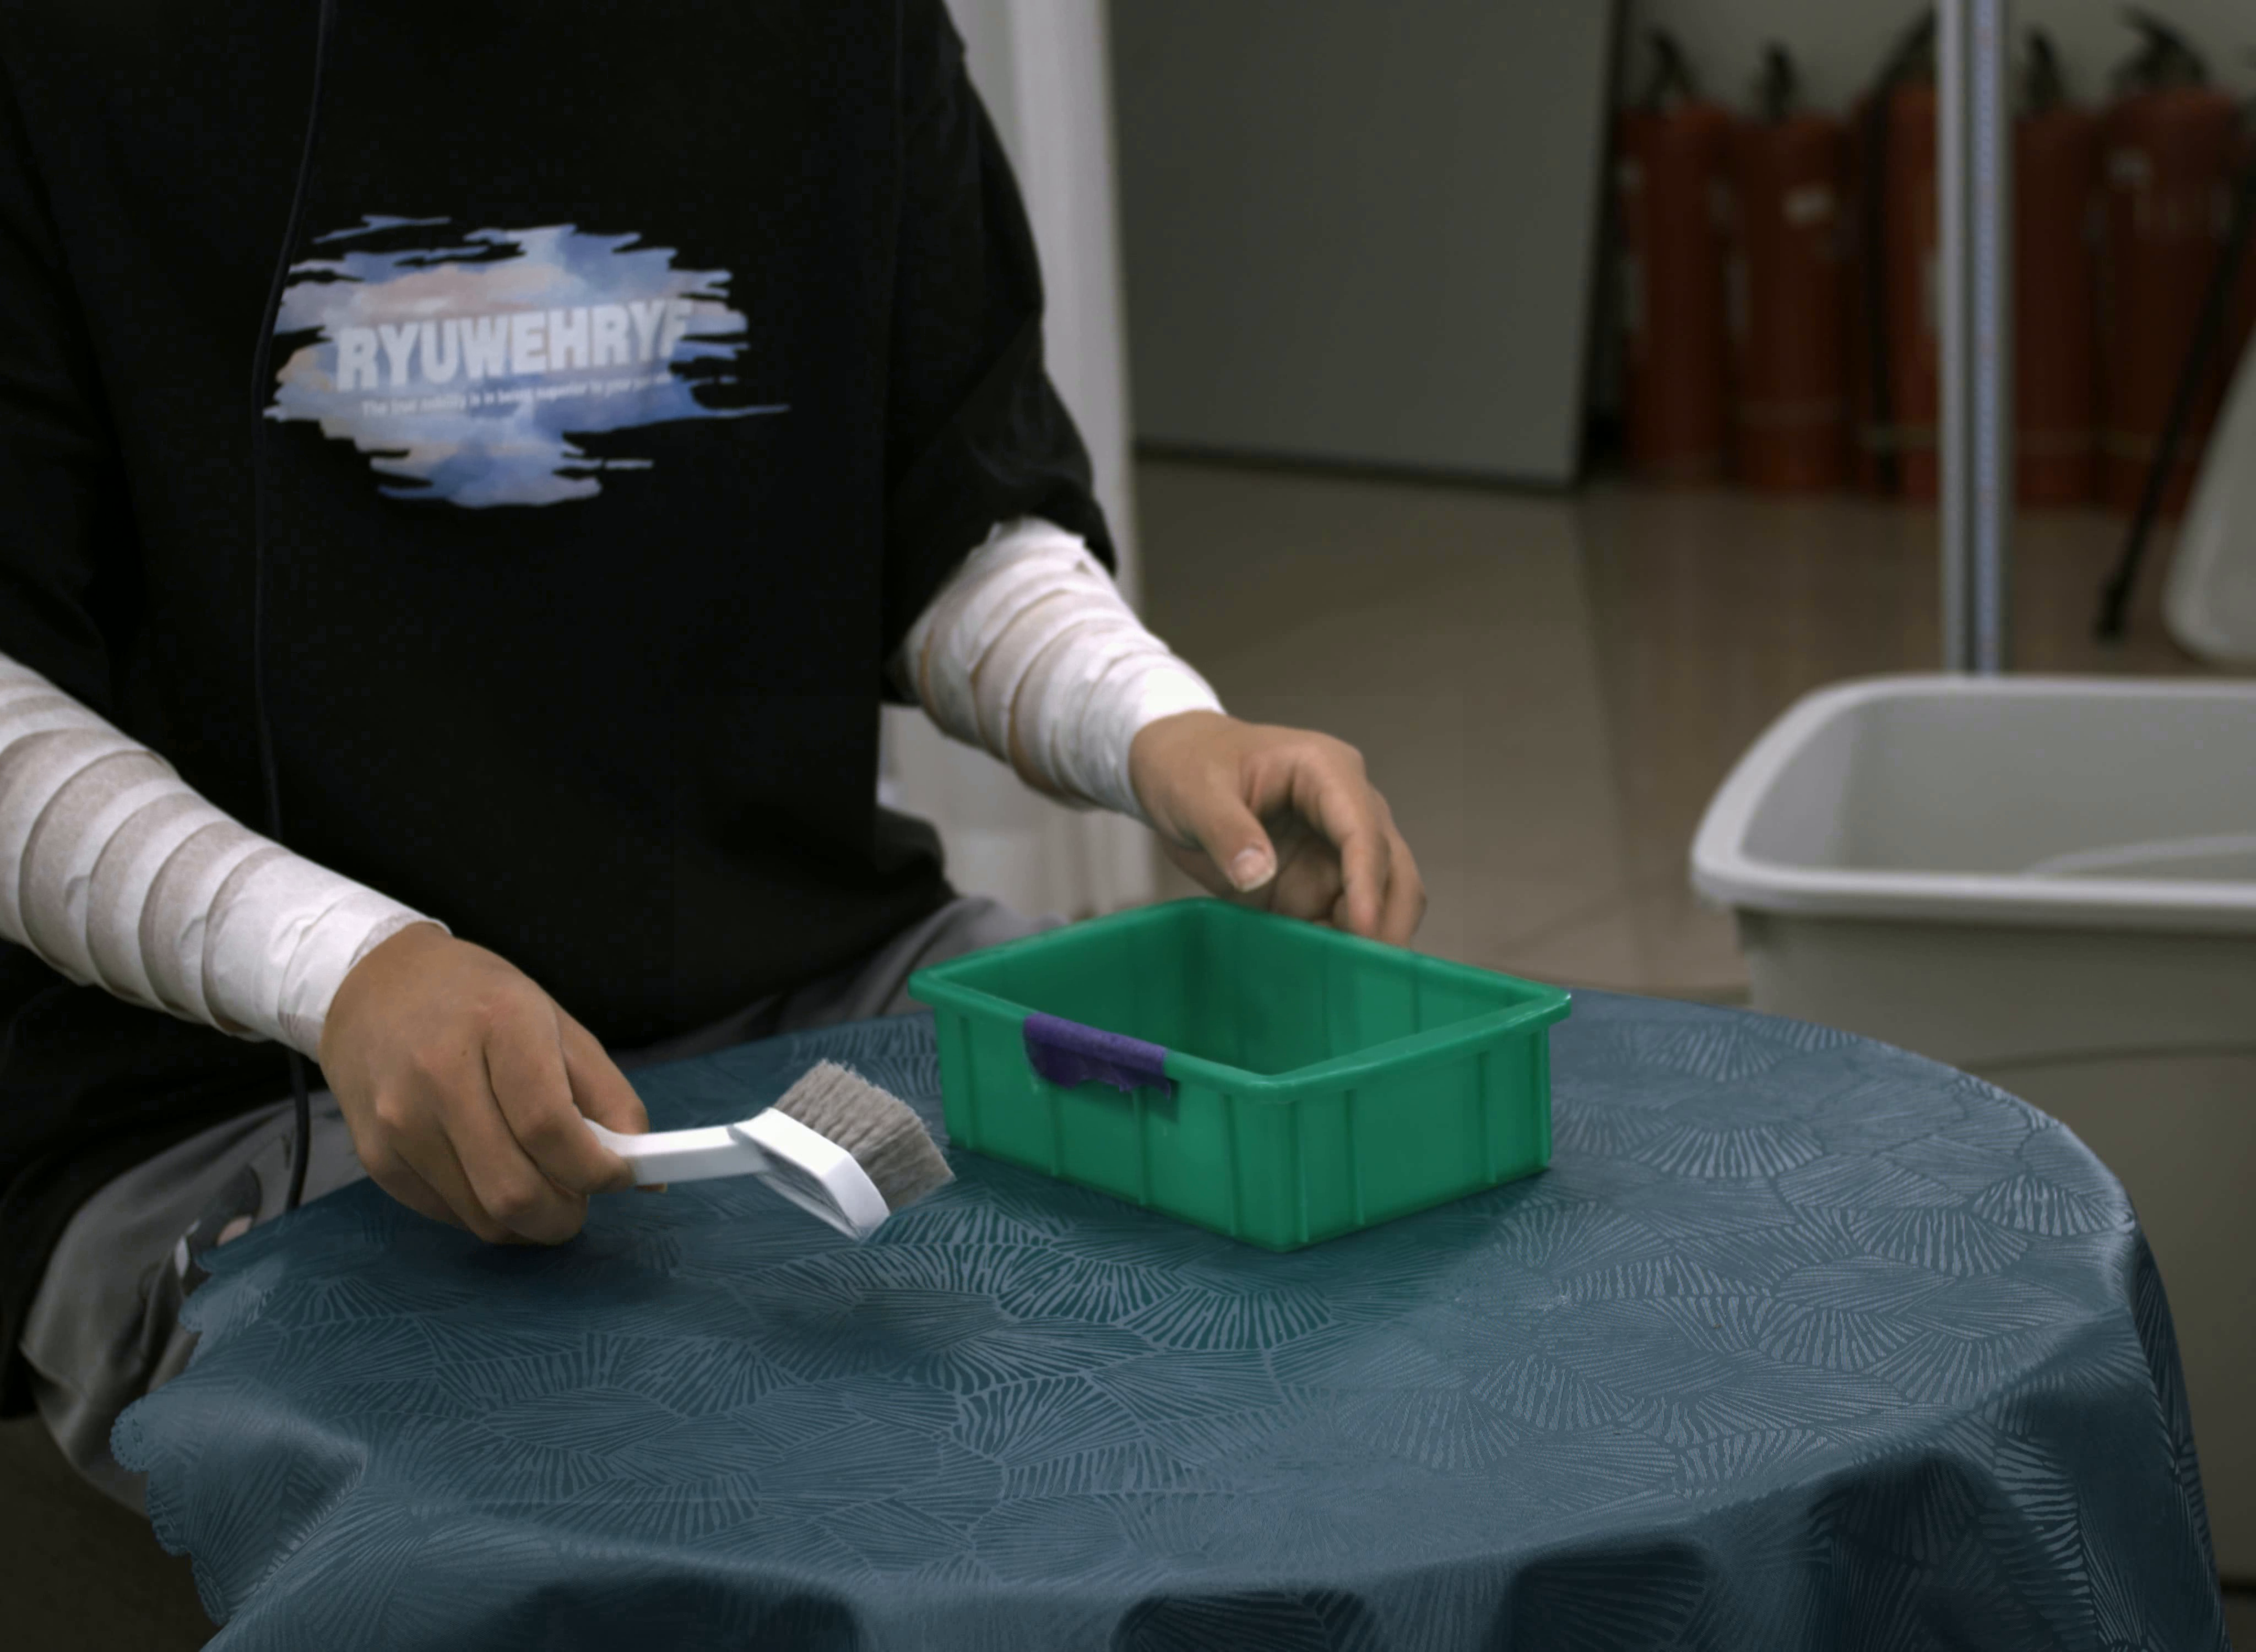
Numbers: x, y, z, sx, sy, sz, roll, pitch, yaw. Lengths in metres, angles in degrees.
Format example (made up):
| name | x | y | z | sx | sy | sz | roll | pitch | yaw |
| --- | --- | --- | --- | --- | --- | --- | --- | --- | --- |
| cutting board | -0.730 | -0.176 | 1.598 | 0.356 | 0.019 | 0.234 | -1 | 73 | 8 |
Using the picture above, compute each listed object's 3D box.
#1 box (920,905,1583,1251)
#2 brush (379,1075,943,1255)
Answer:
| name | x | y | z | sx | sy | sz | roll | pitch | yaw |
| --- | --- | --- | --- | --- | --- | --- | --- | --- | --- |
| box | 0.041 | 0.083 | 1.791 | 0.136 | 0.066 | 0.212 | -17 | 18 | -36 |
| brush | -0.150 | 0.102 | 1.721 | 0.246 | 0.034 | 0.050 | 1 | 40 | 46 |
